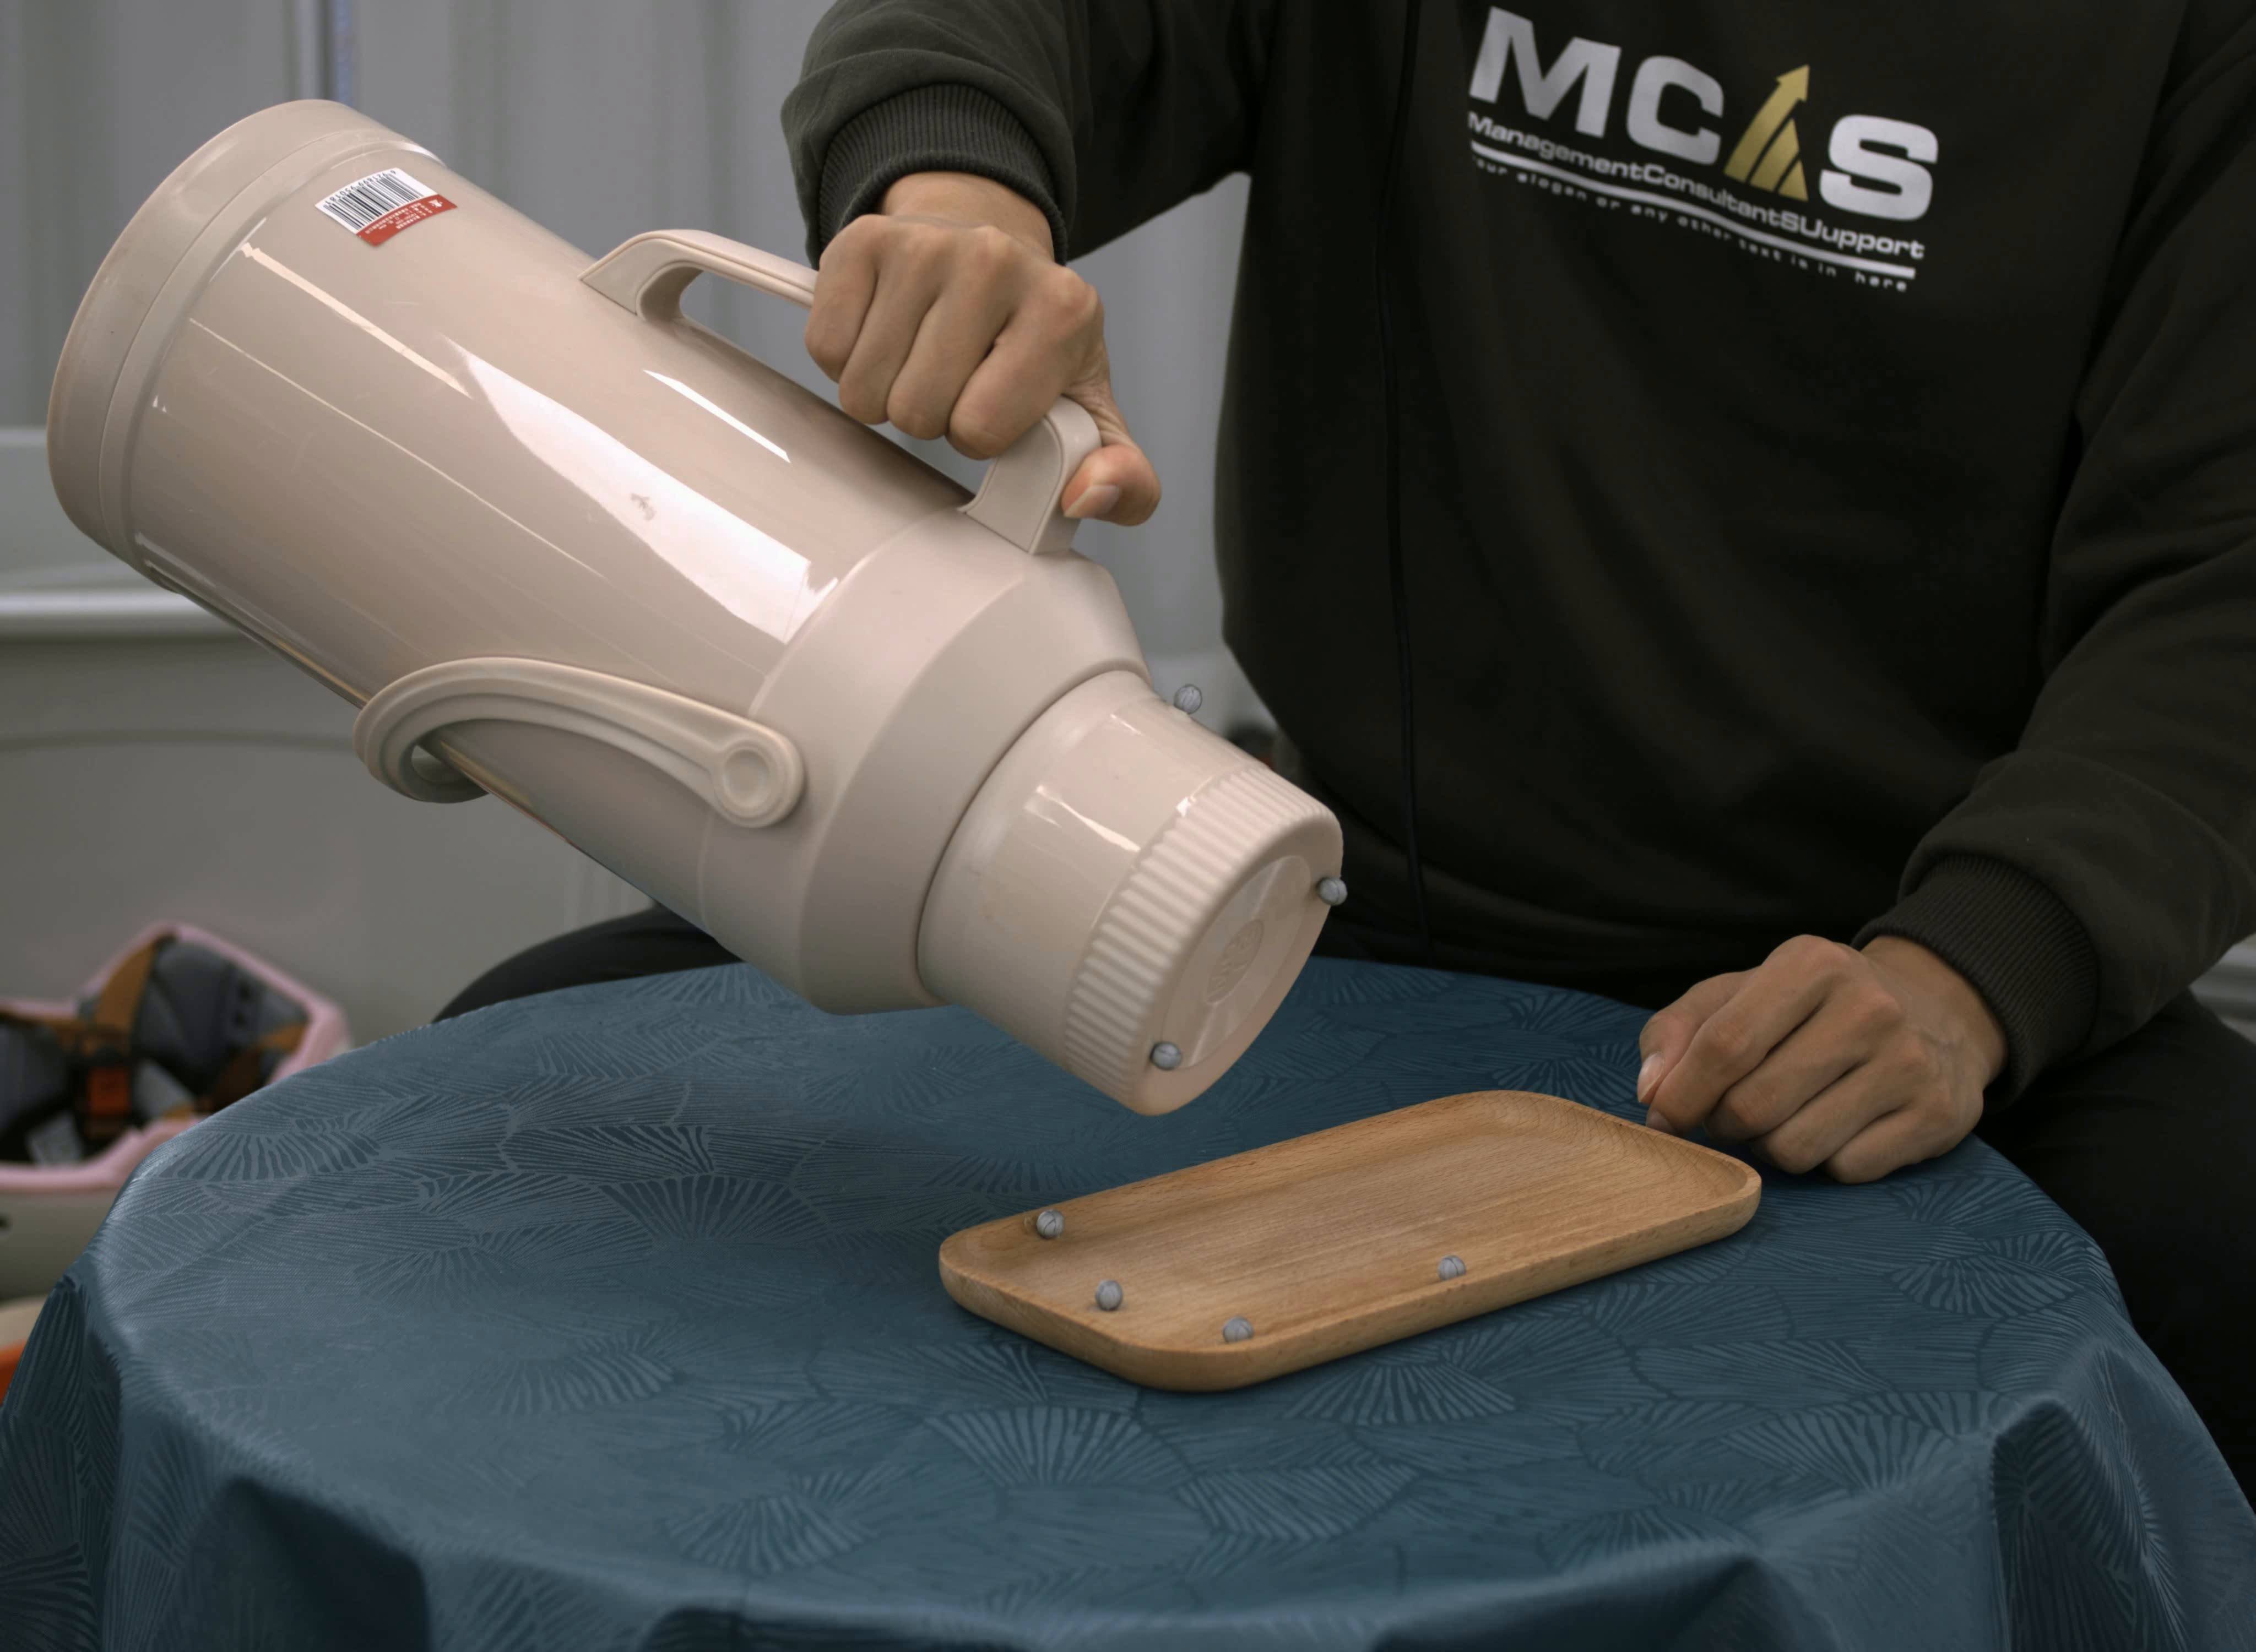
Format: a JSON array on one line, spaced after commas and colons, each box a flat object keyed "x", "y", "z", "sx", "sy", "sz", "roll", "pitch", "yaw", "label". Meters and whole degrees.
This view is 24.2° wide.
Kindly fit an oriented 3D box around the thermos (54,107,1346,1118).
[{"x": -0.119, "y": -0.071, "z": 1.584, "sx": 0.402, "sy": 0.208, "sz": 0.176, "roll": 32, "pitch": 20, "yaw": 21, "label": "thermos"}]

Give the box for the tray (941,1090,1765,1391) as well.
[{"x": 0.070, "y": 0.121, "z": 1.573, "sx": 0.252, "sy": 0.023, "sz": 0.129, "roll": -11, "pitch": 22, "yaw": -39, "label": "tray"}]
